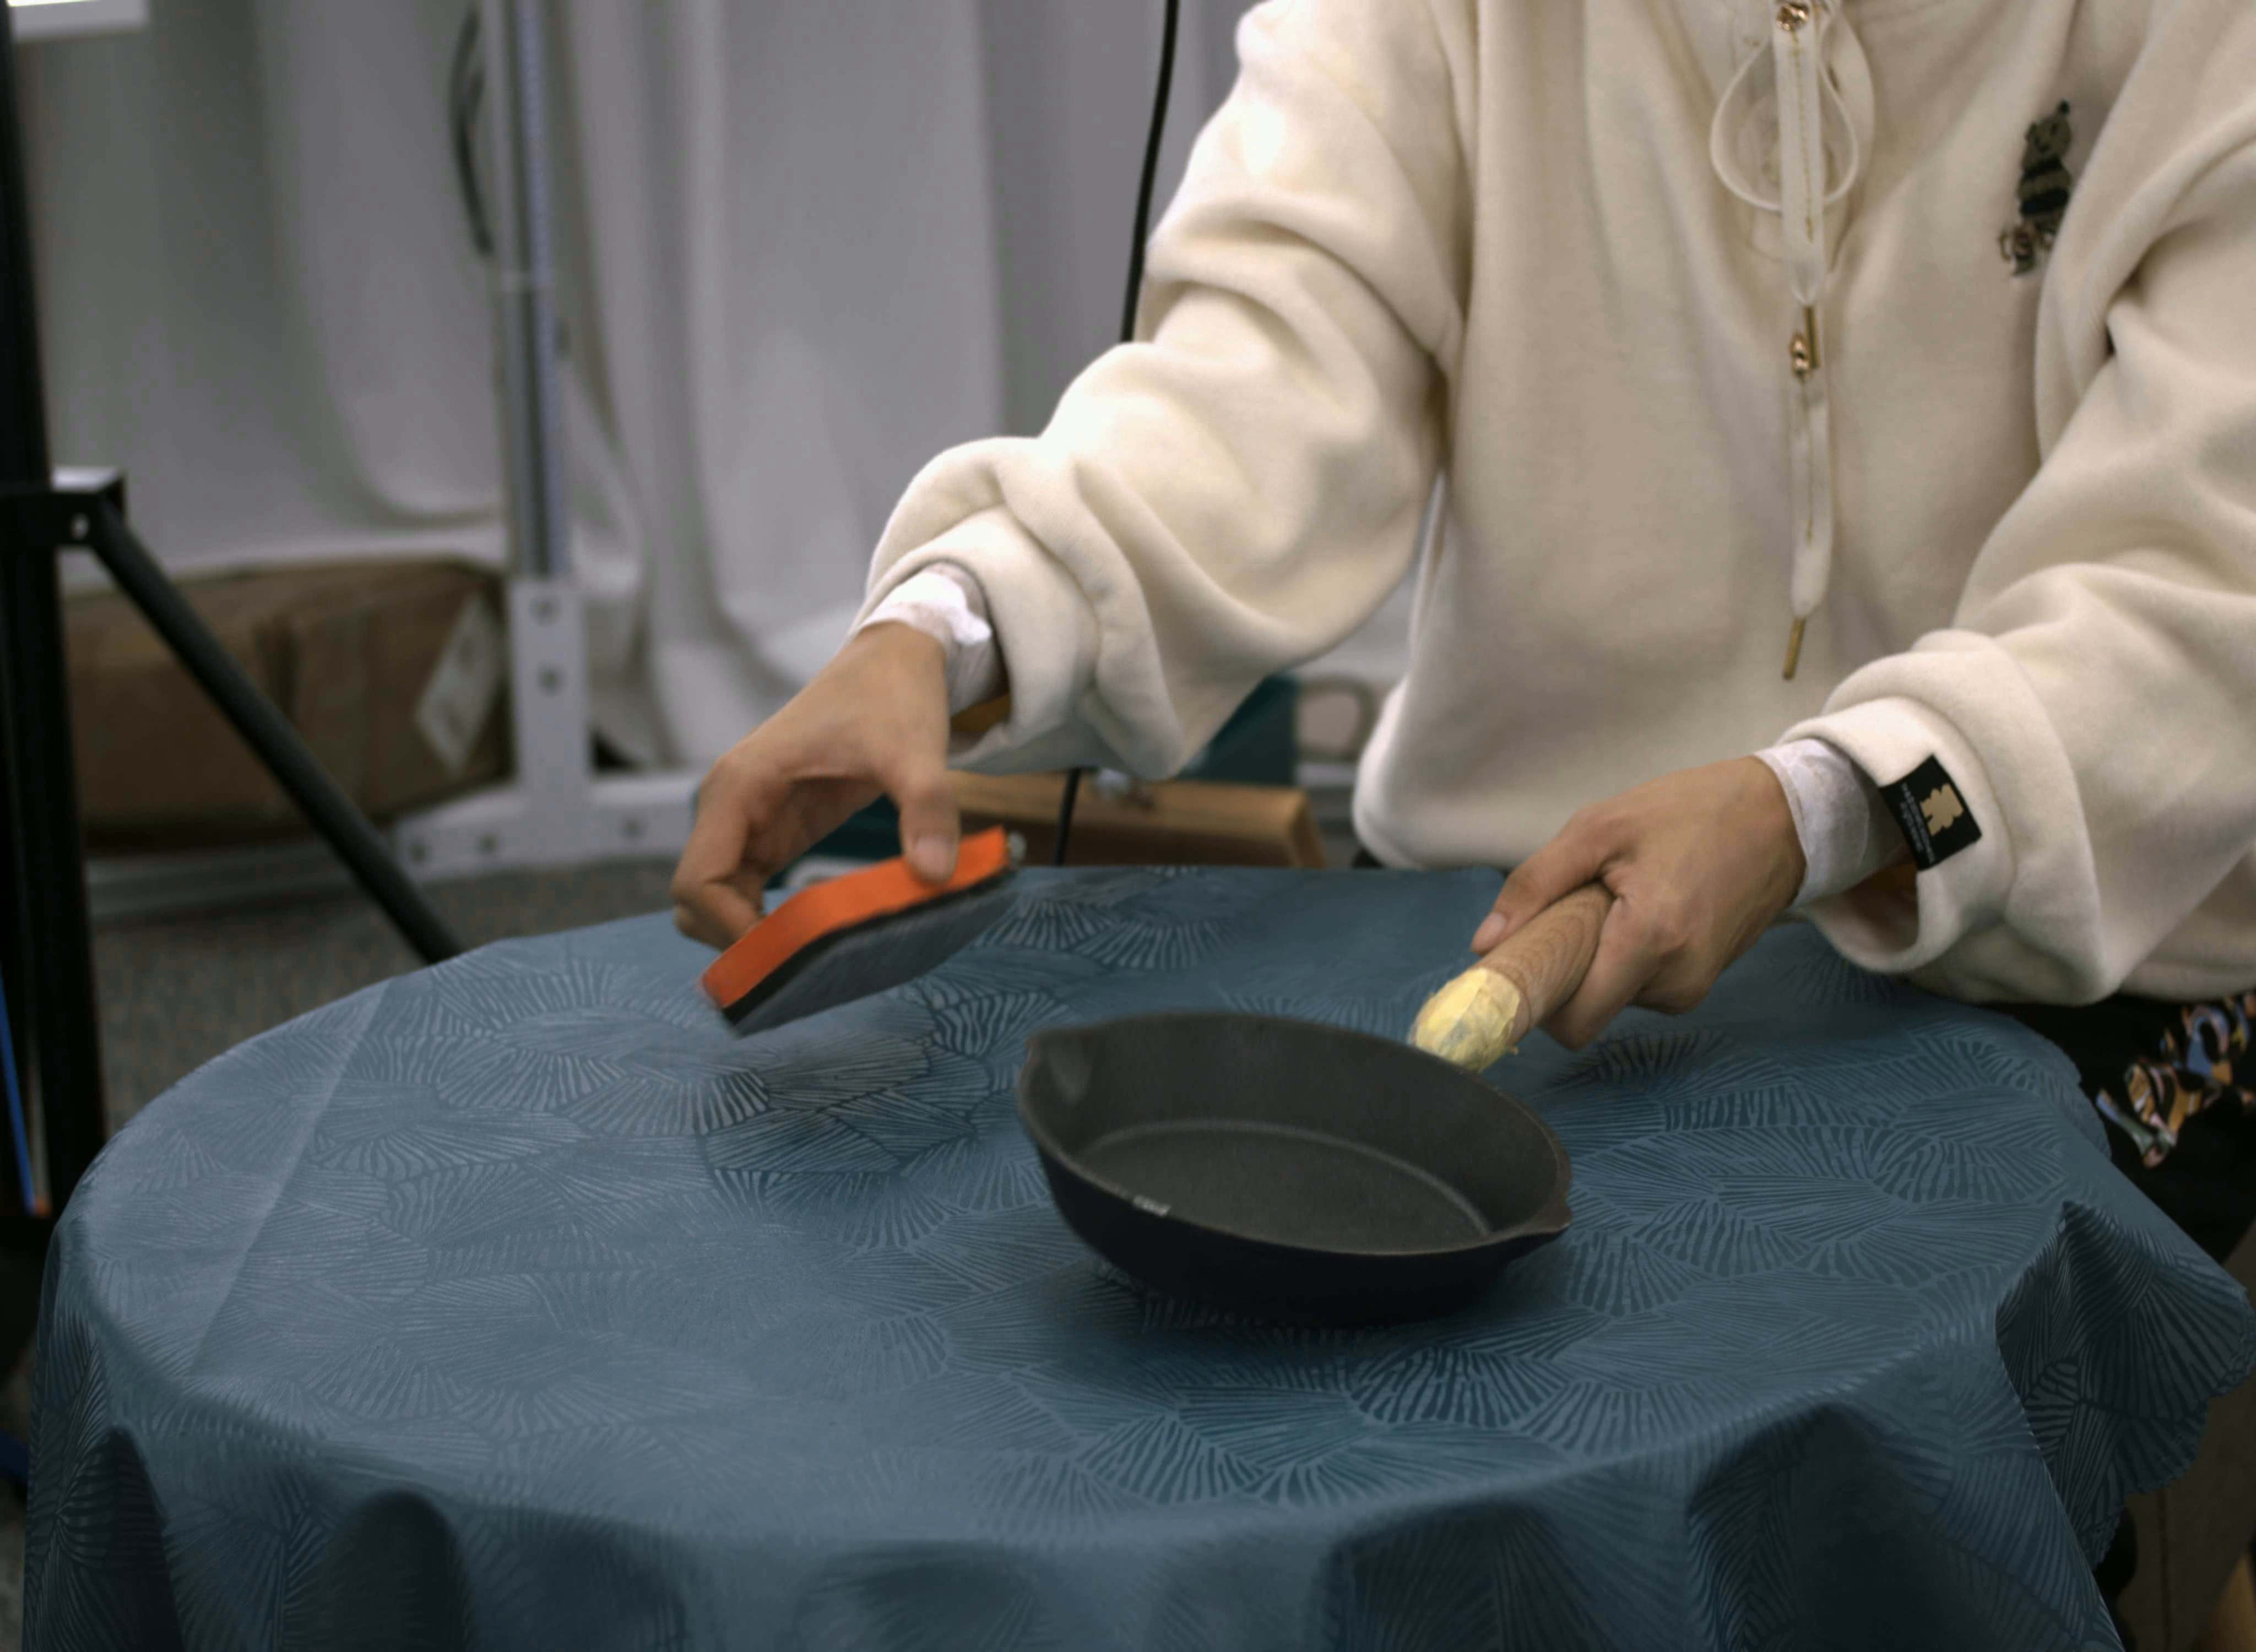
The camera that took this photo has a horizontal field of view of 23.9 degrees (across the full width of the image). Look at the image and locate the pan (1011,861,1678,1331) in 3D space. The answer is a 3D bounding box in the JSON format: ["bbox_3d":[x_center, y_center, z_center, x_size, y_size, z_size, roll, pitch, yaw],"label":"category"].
[{"bbox_3d":[0.087,0.072,1.546,0.172,0.049,0.318,17,23,27],"label":"pan"}]

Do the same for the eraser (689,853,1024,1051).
[{"bbox_3d":[-0.083,0.038,1.639,0.059,0.023,0.105,-37,-13,35],"label":"eraser"}]
